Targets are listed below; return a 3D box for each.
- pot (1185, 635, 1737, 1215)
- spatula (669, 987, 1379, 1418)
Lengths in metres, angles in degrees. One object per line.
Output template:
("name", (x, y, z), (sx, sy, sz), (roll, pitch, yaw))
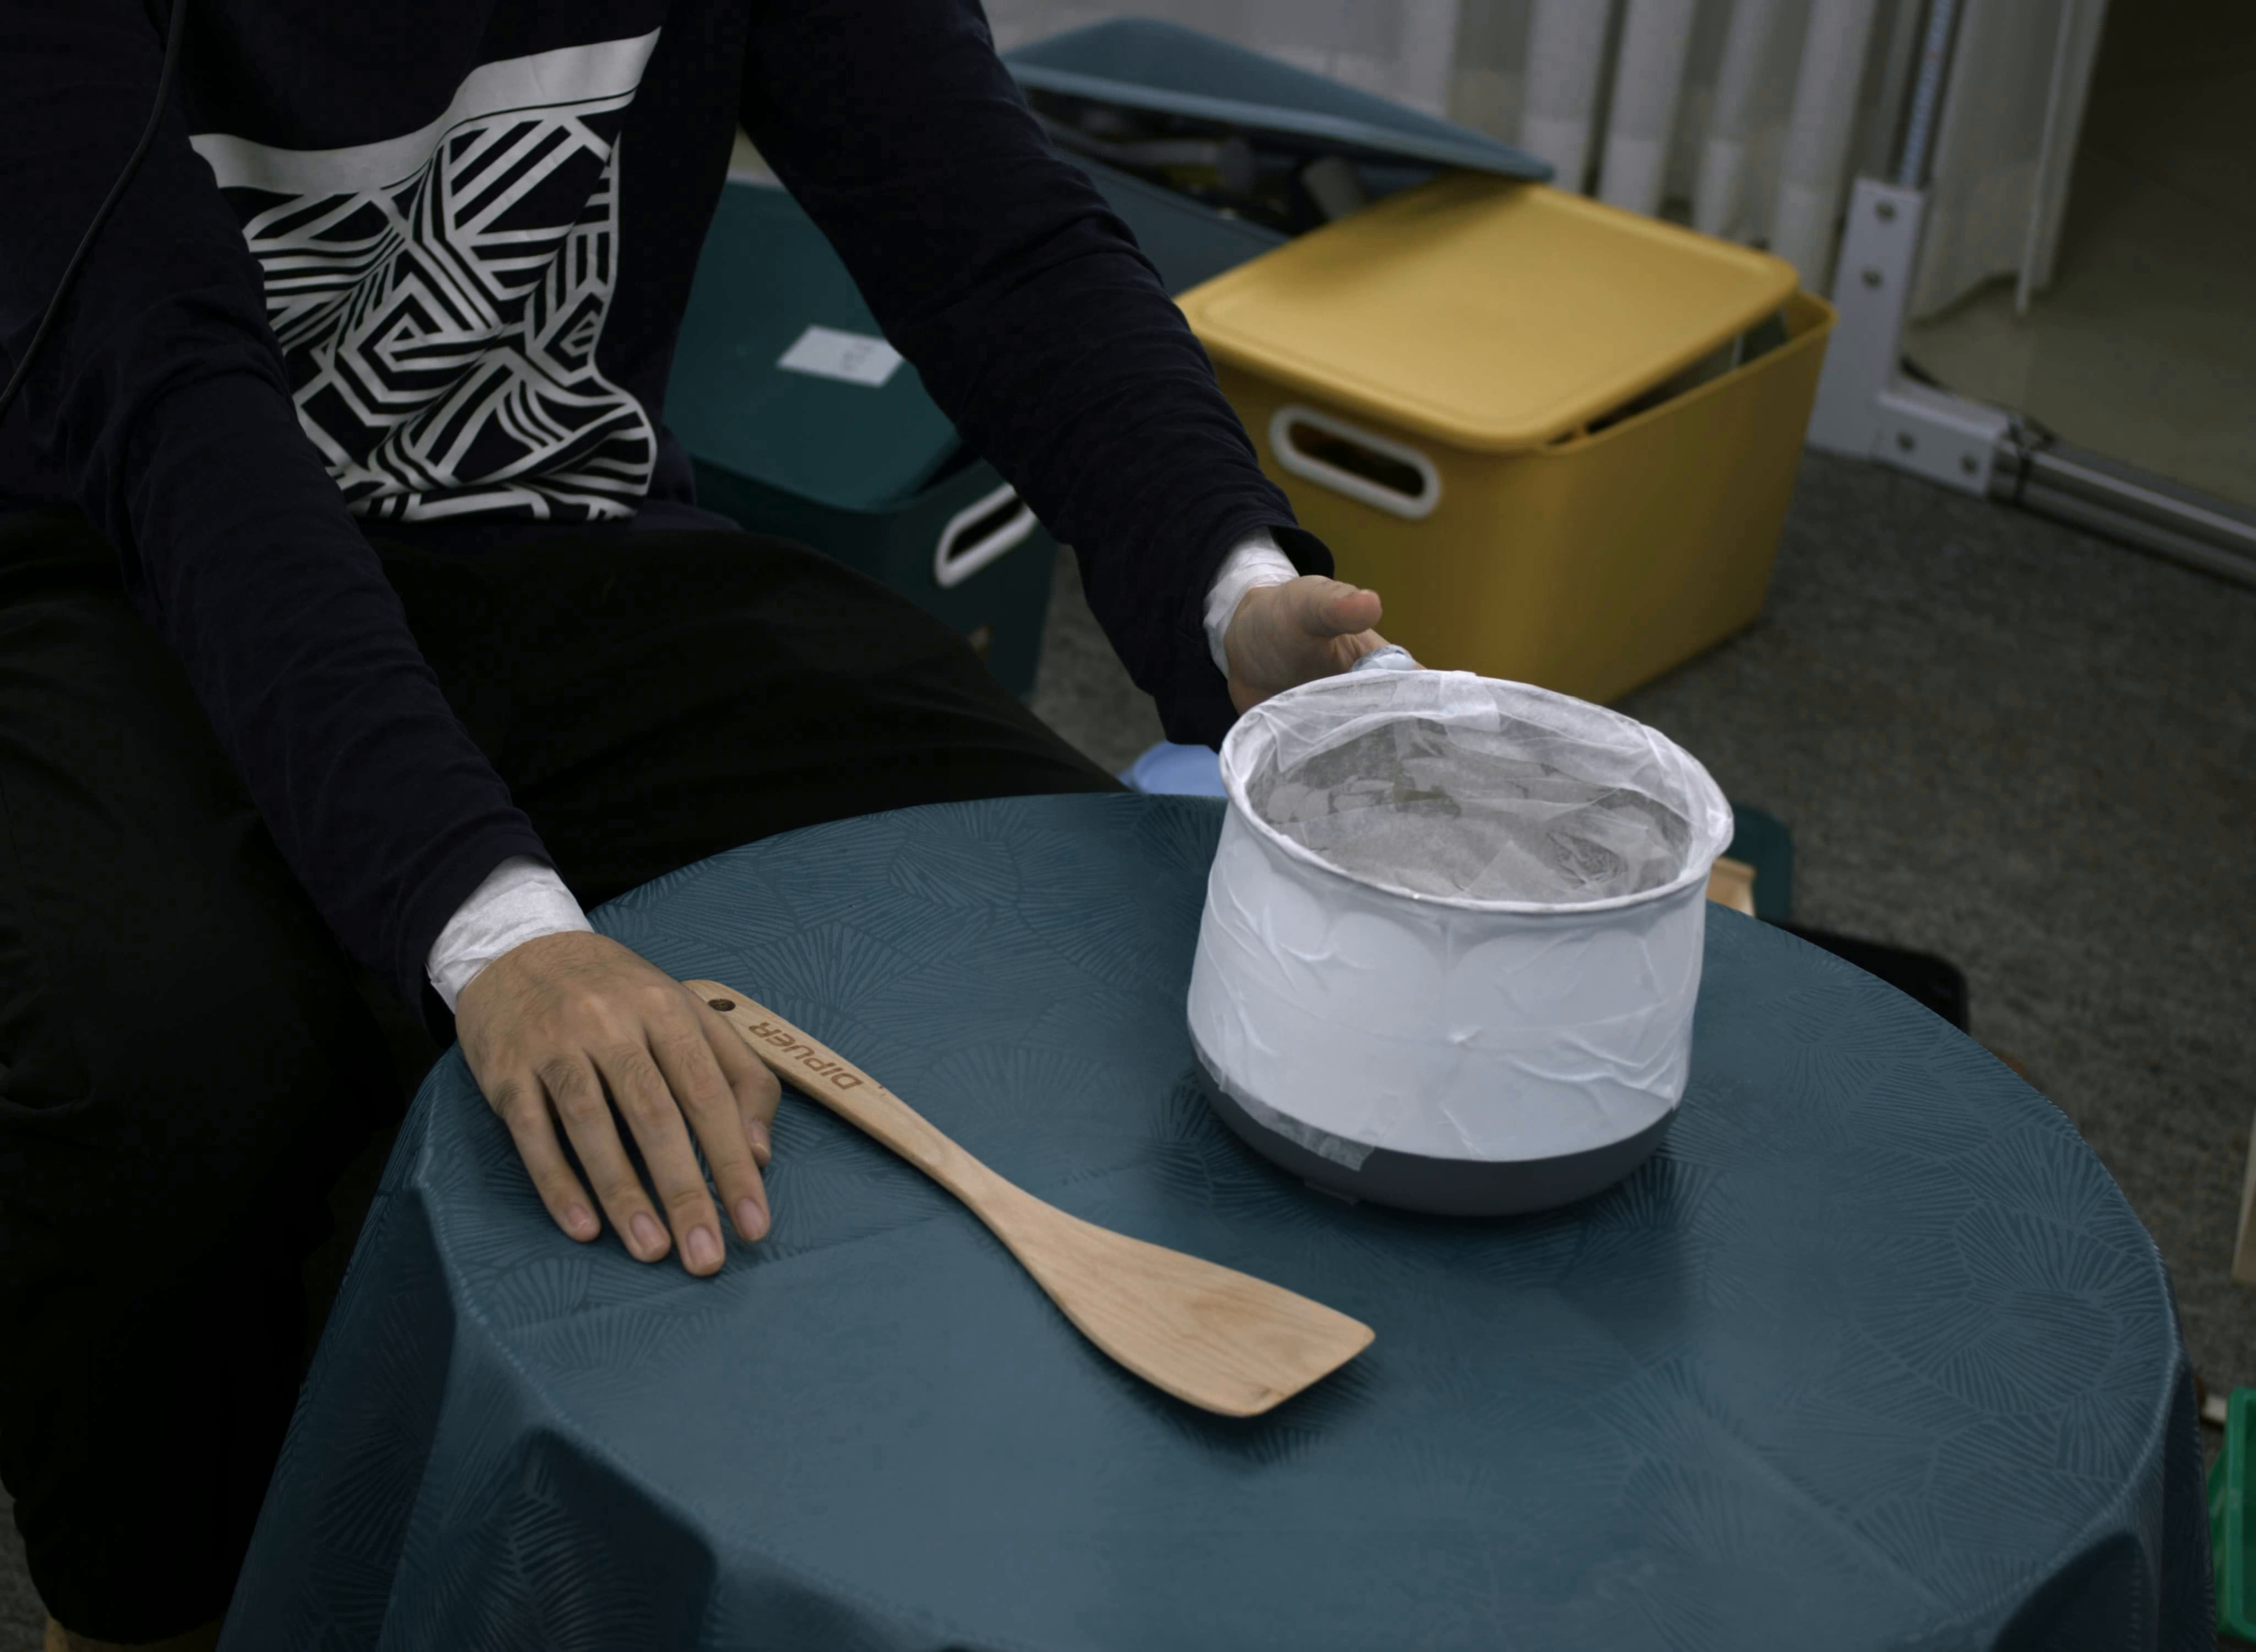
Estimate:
("pot", (0.104, 0.027, 1.863), (0.177, 0.136, 0.236), (-1, 29, -17))
("spatula", (-0.047, 0.119, 1.786), (0.079, 0.016, 0.330), (-17, 34, -40))
